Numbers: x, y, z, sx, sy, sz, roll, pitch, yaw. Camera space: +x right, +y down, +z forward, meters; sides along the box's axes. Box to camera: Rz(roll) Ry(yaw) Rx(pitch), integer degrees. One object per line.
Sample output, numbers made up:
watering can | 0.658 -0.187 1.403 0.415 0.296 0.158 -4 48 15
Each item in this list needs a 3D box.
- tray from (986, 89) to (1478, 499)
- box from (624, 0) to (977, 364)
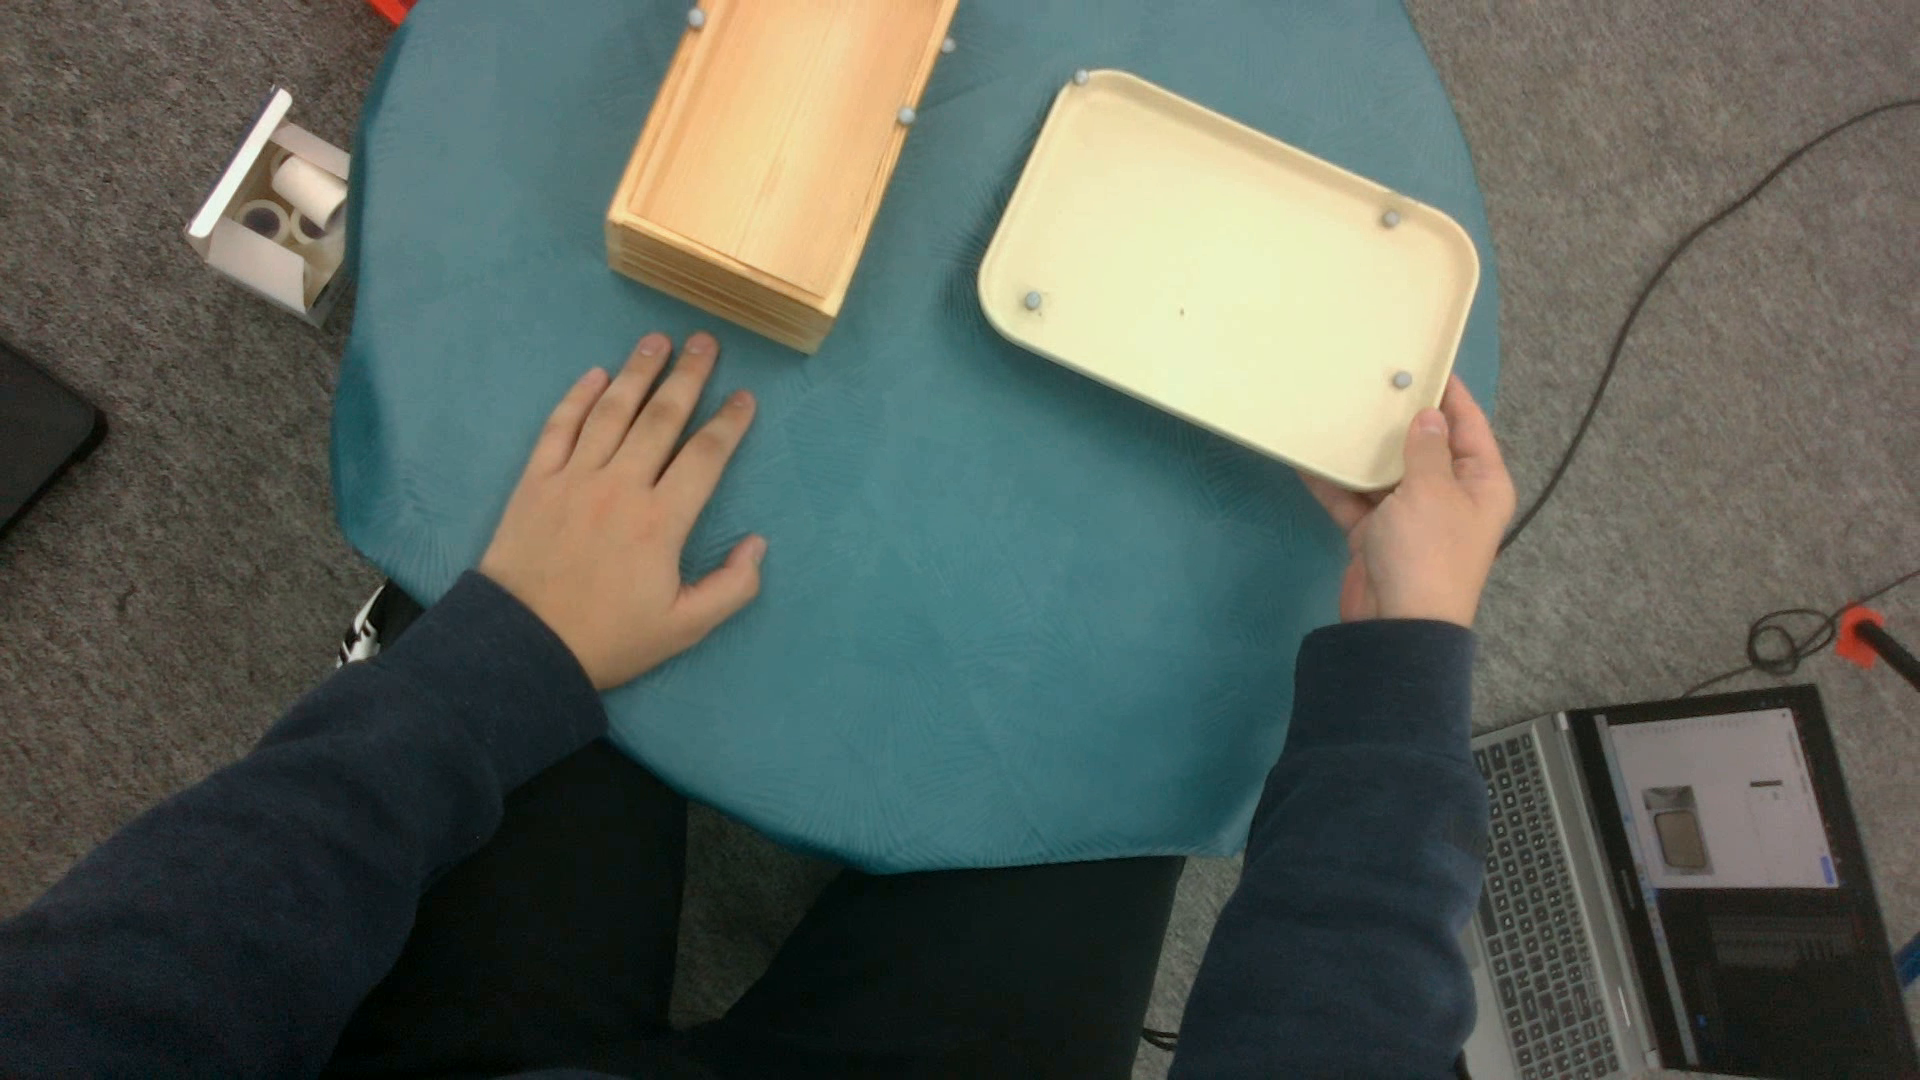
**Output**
tray | 0.144 -0.130 0.718 0.239 0.017 0.172 24 70 0
box | -0.072 -0.208 0.671 0.107 0.080 0.212 22 80 -10
